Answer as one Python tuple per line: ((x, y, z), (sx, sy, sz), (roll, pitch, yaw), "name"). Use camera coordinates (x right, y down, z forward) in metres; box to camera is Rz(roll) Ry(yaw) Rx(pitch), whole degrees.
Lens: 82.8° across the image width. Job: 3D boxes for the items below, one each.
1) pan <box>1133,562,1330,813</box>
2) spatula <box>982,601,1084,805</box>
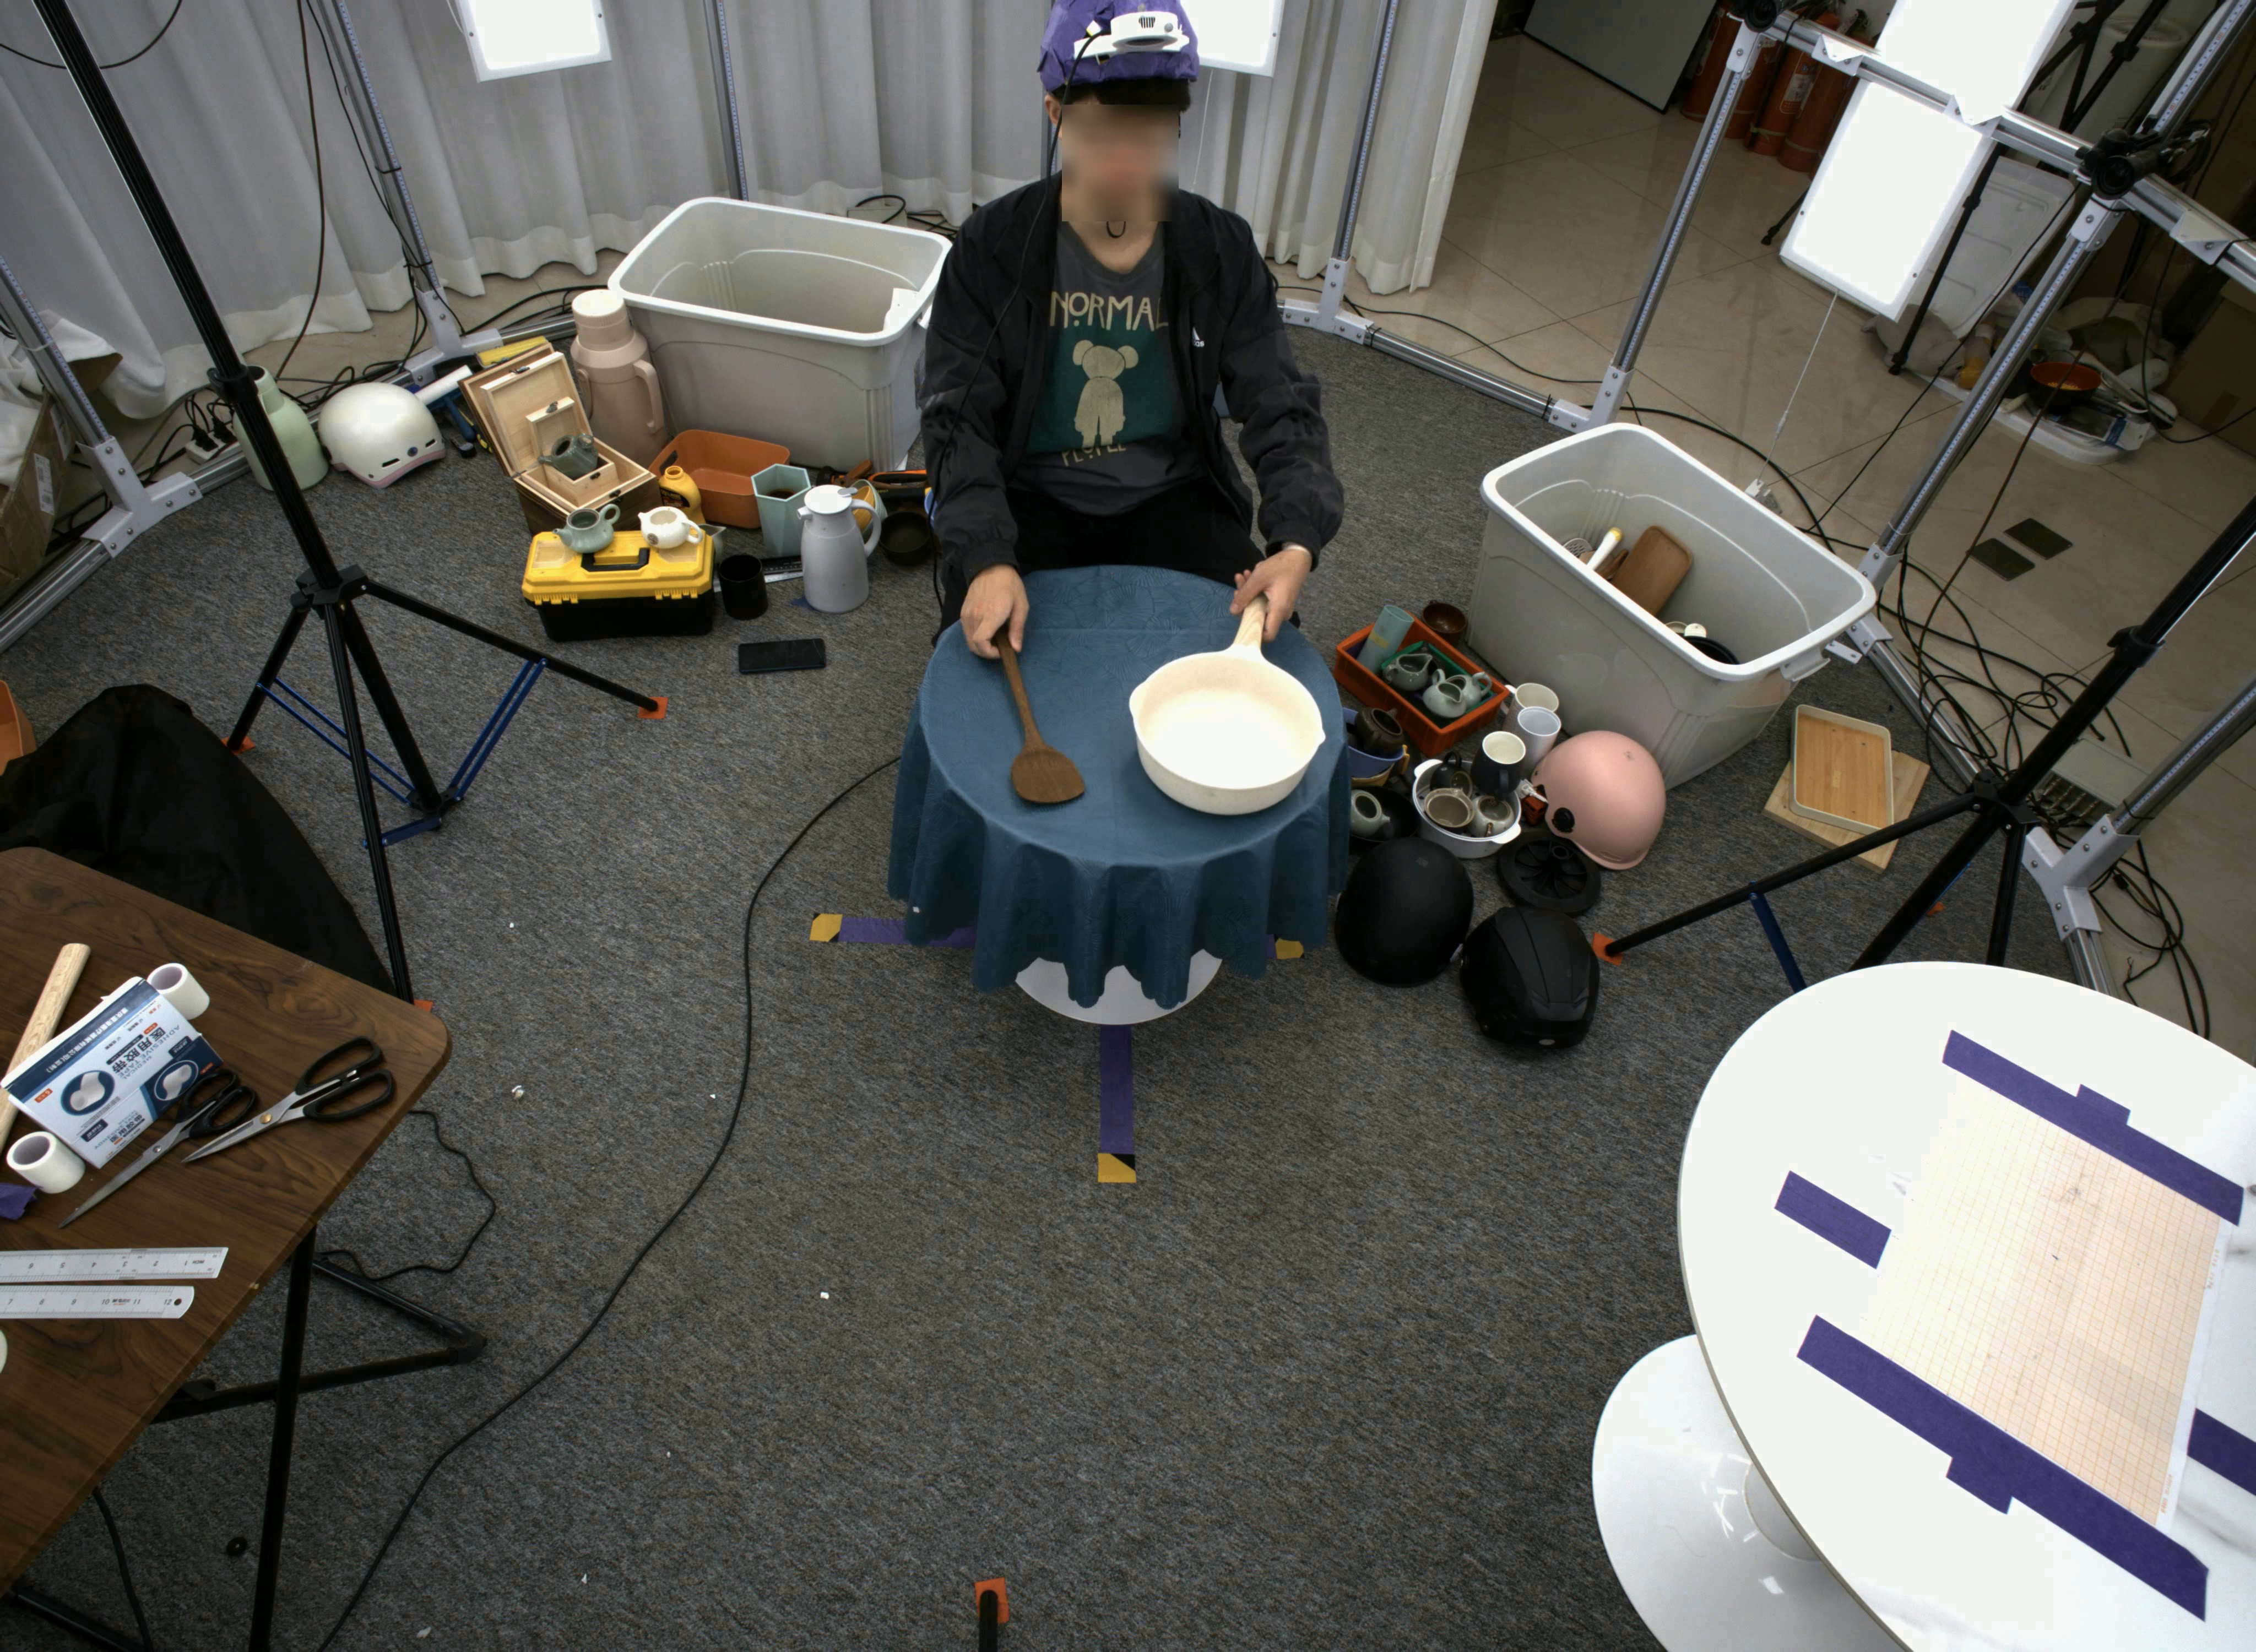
((0.157, -0.193, 1.778), (0.264, 0.099, 0.444), (11, 49, 9), "pan")
((-0.150, -0.181, 1.789), (0.096, 0.015, 0.395), (-8, 54, -16), "spatula")
